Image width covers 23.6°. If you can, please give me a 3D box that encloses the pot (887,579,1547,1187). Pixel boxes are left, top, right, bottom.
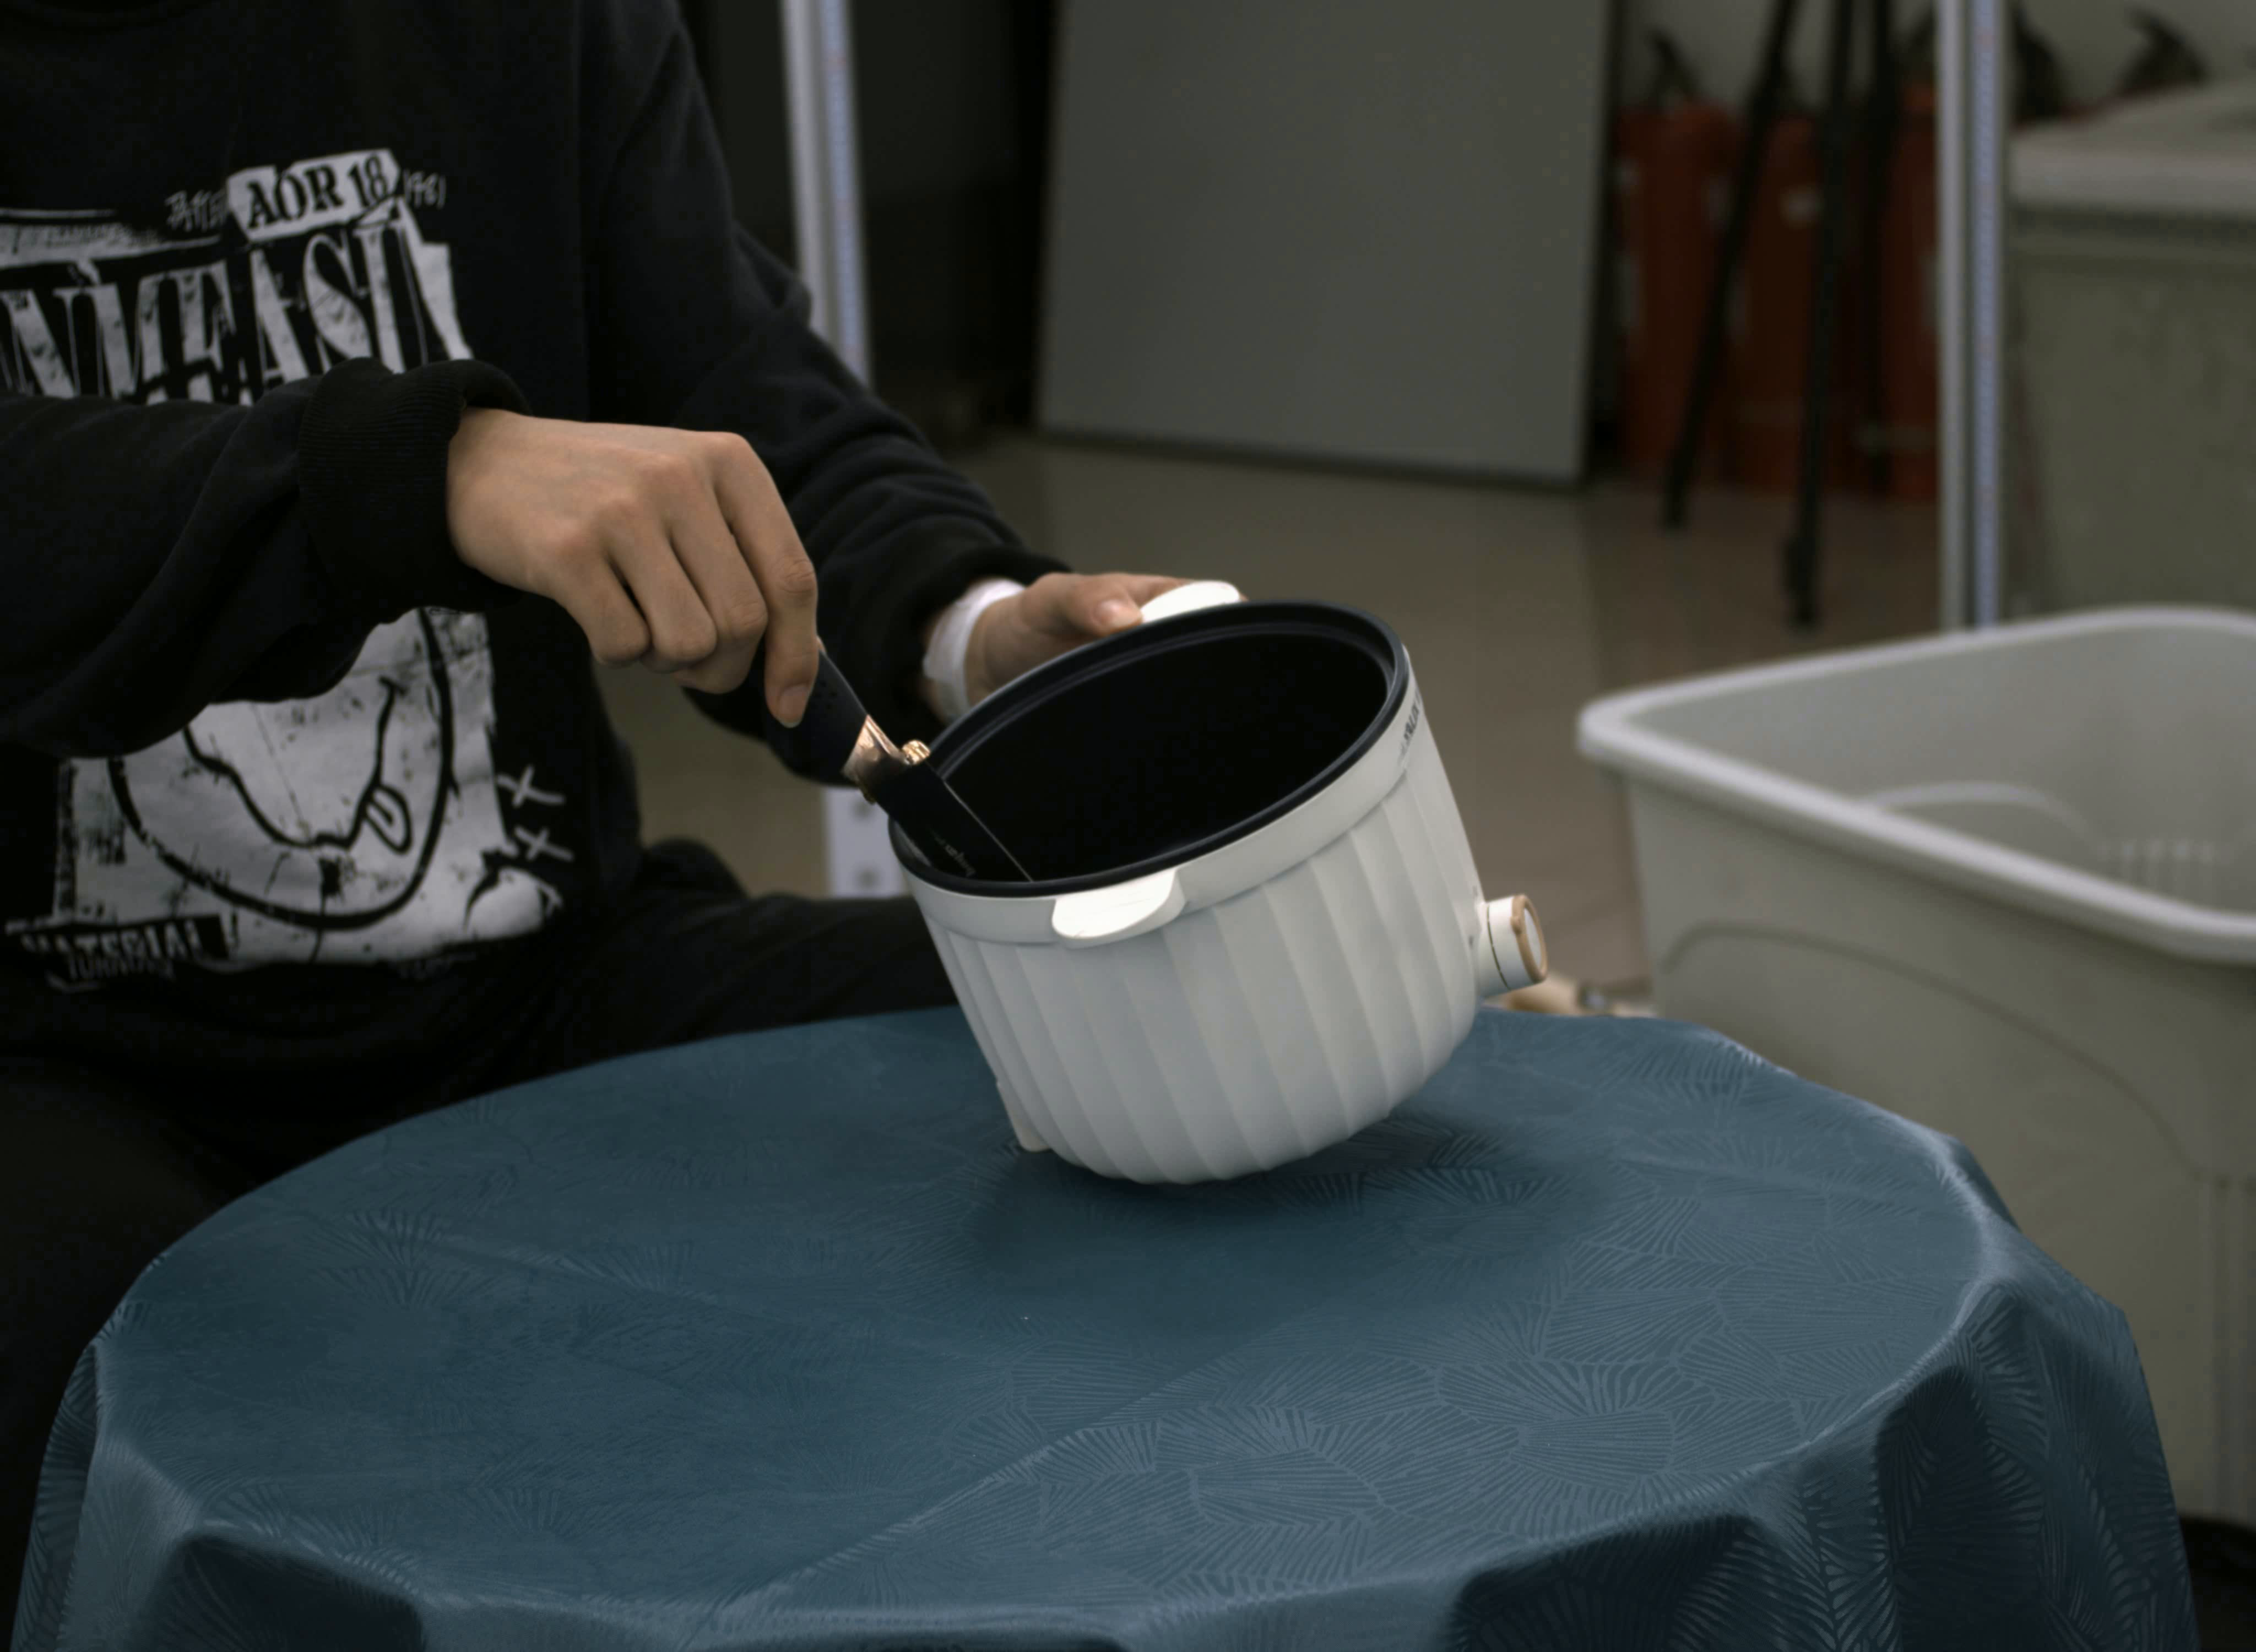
[{"bbox_3d":[0.032,0.024,1.788,0.190,0.142,0.240,-18,26,17],"label":"pot"}]

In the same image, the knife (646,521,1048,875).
[{"bbox_3d":[-0.072,-0.016,1.748,0.026,0.224,0.017,-44,10,2],"label":"knife"}]
